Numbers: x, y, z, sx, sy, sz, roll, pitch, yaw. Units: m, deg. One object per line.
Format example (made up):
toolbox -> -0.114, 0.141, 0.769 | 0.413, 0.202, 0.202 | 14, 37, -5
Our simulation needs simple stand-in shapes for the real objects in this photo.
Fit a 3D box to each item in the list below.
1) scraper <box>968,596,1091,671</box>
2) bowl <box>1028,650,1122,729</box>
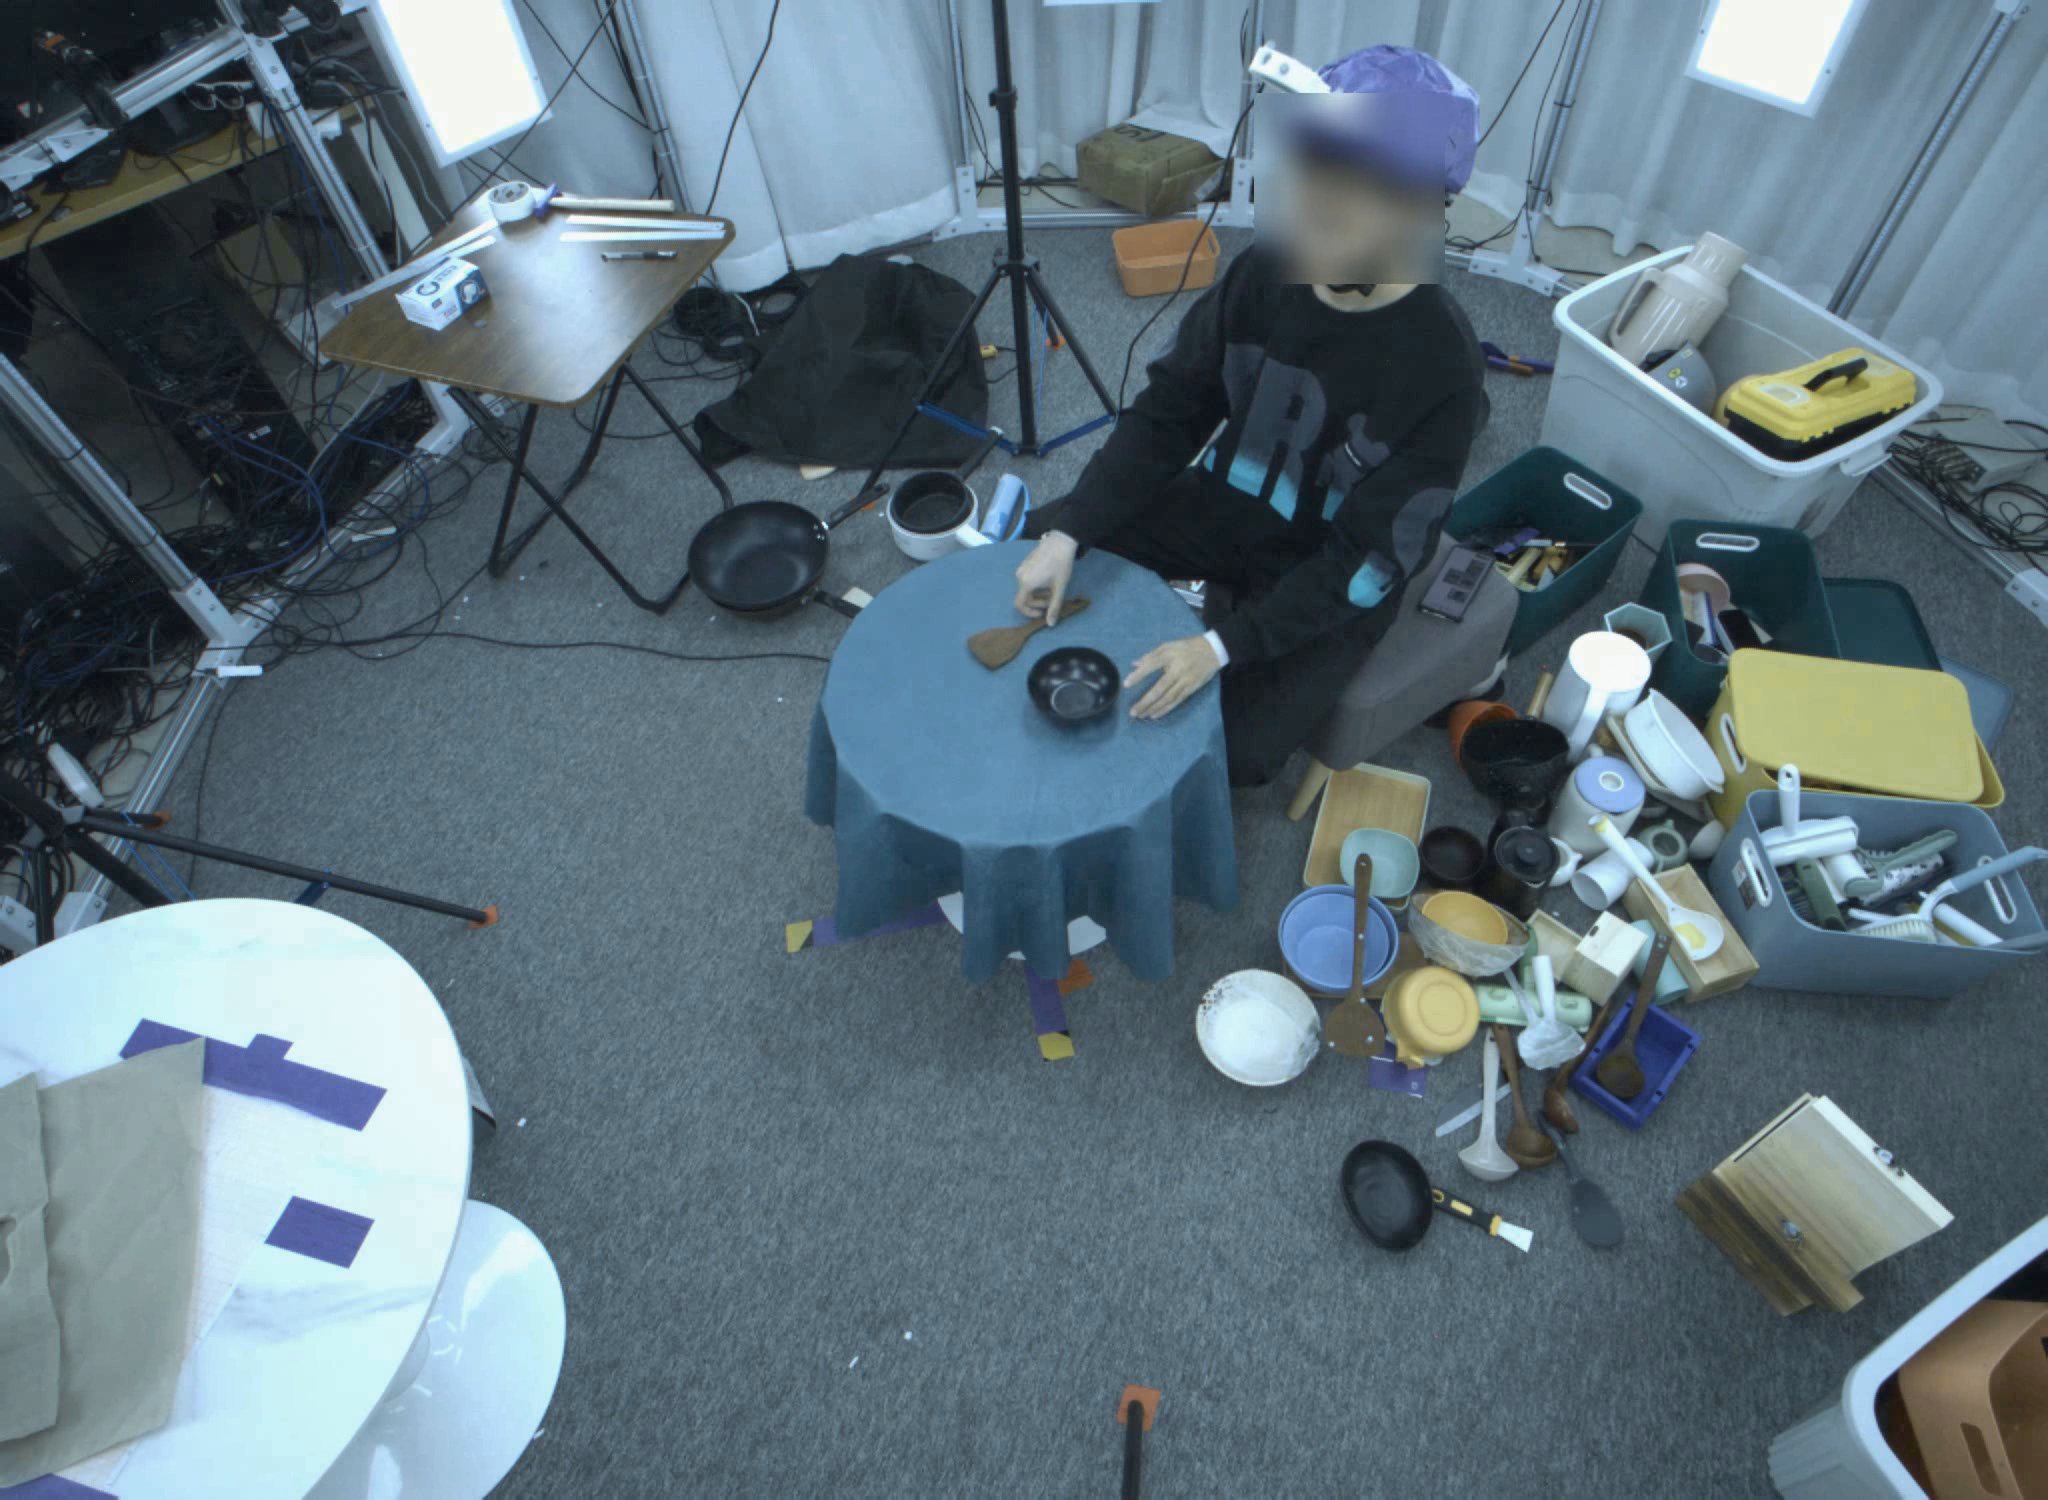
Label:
scraper -> 0.014, -0.189, 1.925 | 0.213, 0.011, 0.074 | -30, 62, -19
bowl -> 0.077, -0.081, 1.823 | 0.140, 0.050, 0.138 | -1, 52, 3
